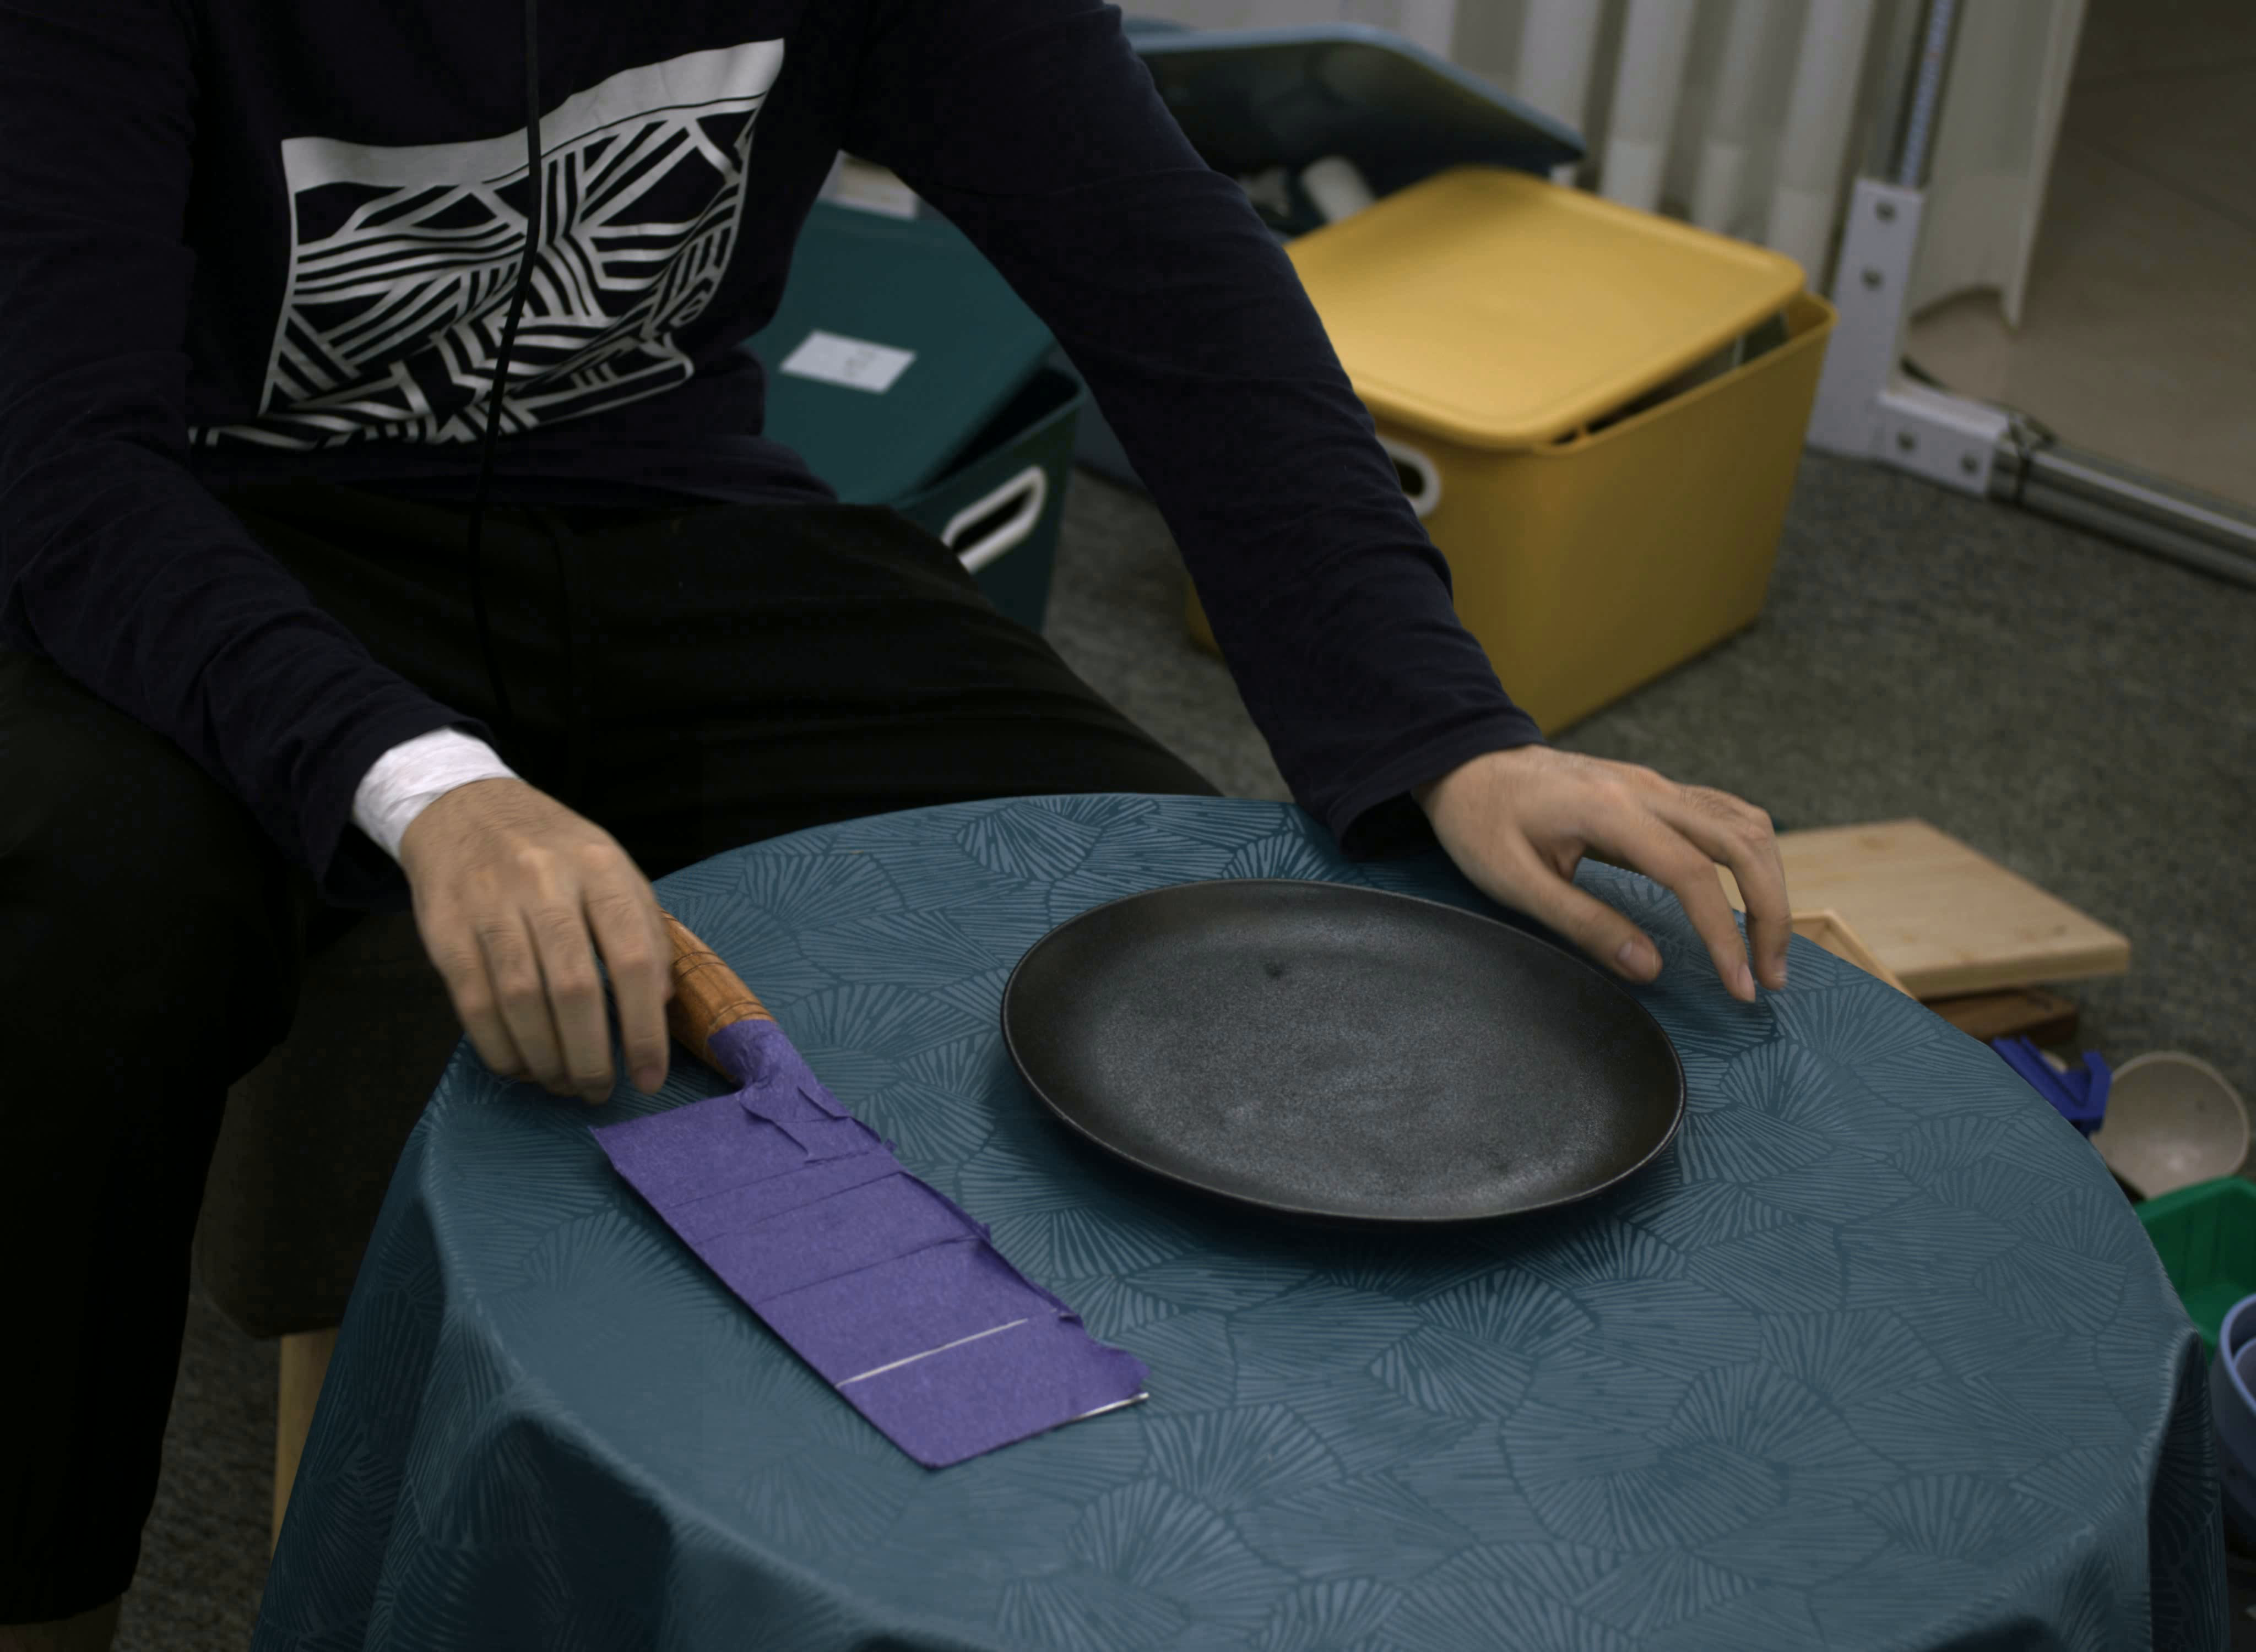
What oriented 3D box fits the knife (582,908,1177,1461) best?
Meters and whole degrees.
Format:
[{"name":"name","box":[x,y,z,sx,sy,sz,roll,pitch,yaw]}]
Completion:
[{"name":"knife","box":[-0.114,0.114,1.769,0.103,0.032,0.318,-13,33,-34]}]

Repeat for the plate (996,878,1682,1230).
[{"name":"plate","box":[0.073,0.084,1.875,0.243,0.023,0.246,5,27,-3]}]
